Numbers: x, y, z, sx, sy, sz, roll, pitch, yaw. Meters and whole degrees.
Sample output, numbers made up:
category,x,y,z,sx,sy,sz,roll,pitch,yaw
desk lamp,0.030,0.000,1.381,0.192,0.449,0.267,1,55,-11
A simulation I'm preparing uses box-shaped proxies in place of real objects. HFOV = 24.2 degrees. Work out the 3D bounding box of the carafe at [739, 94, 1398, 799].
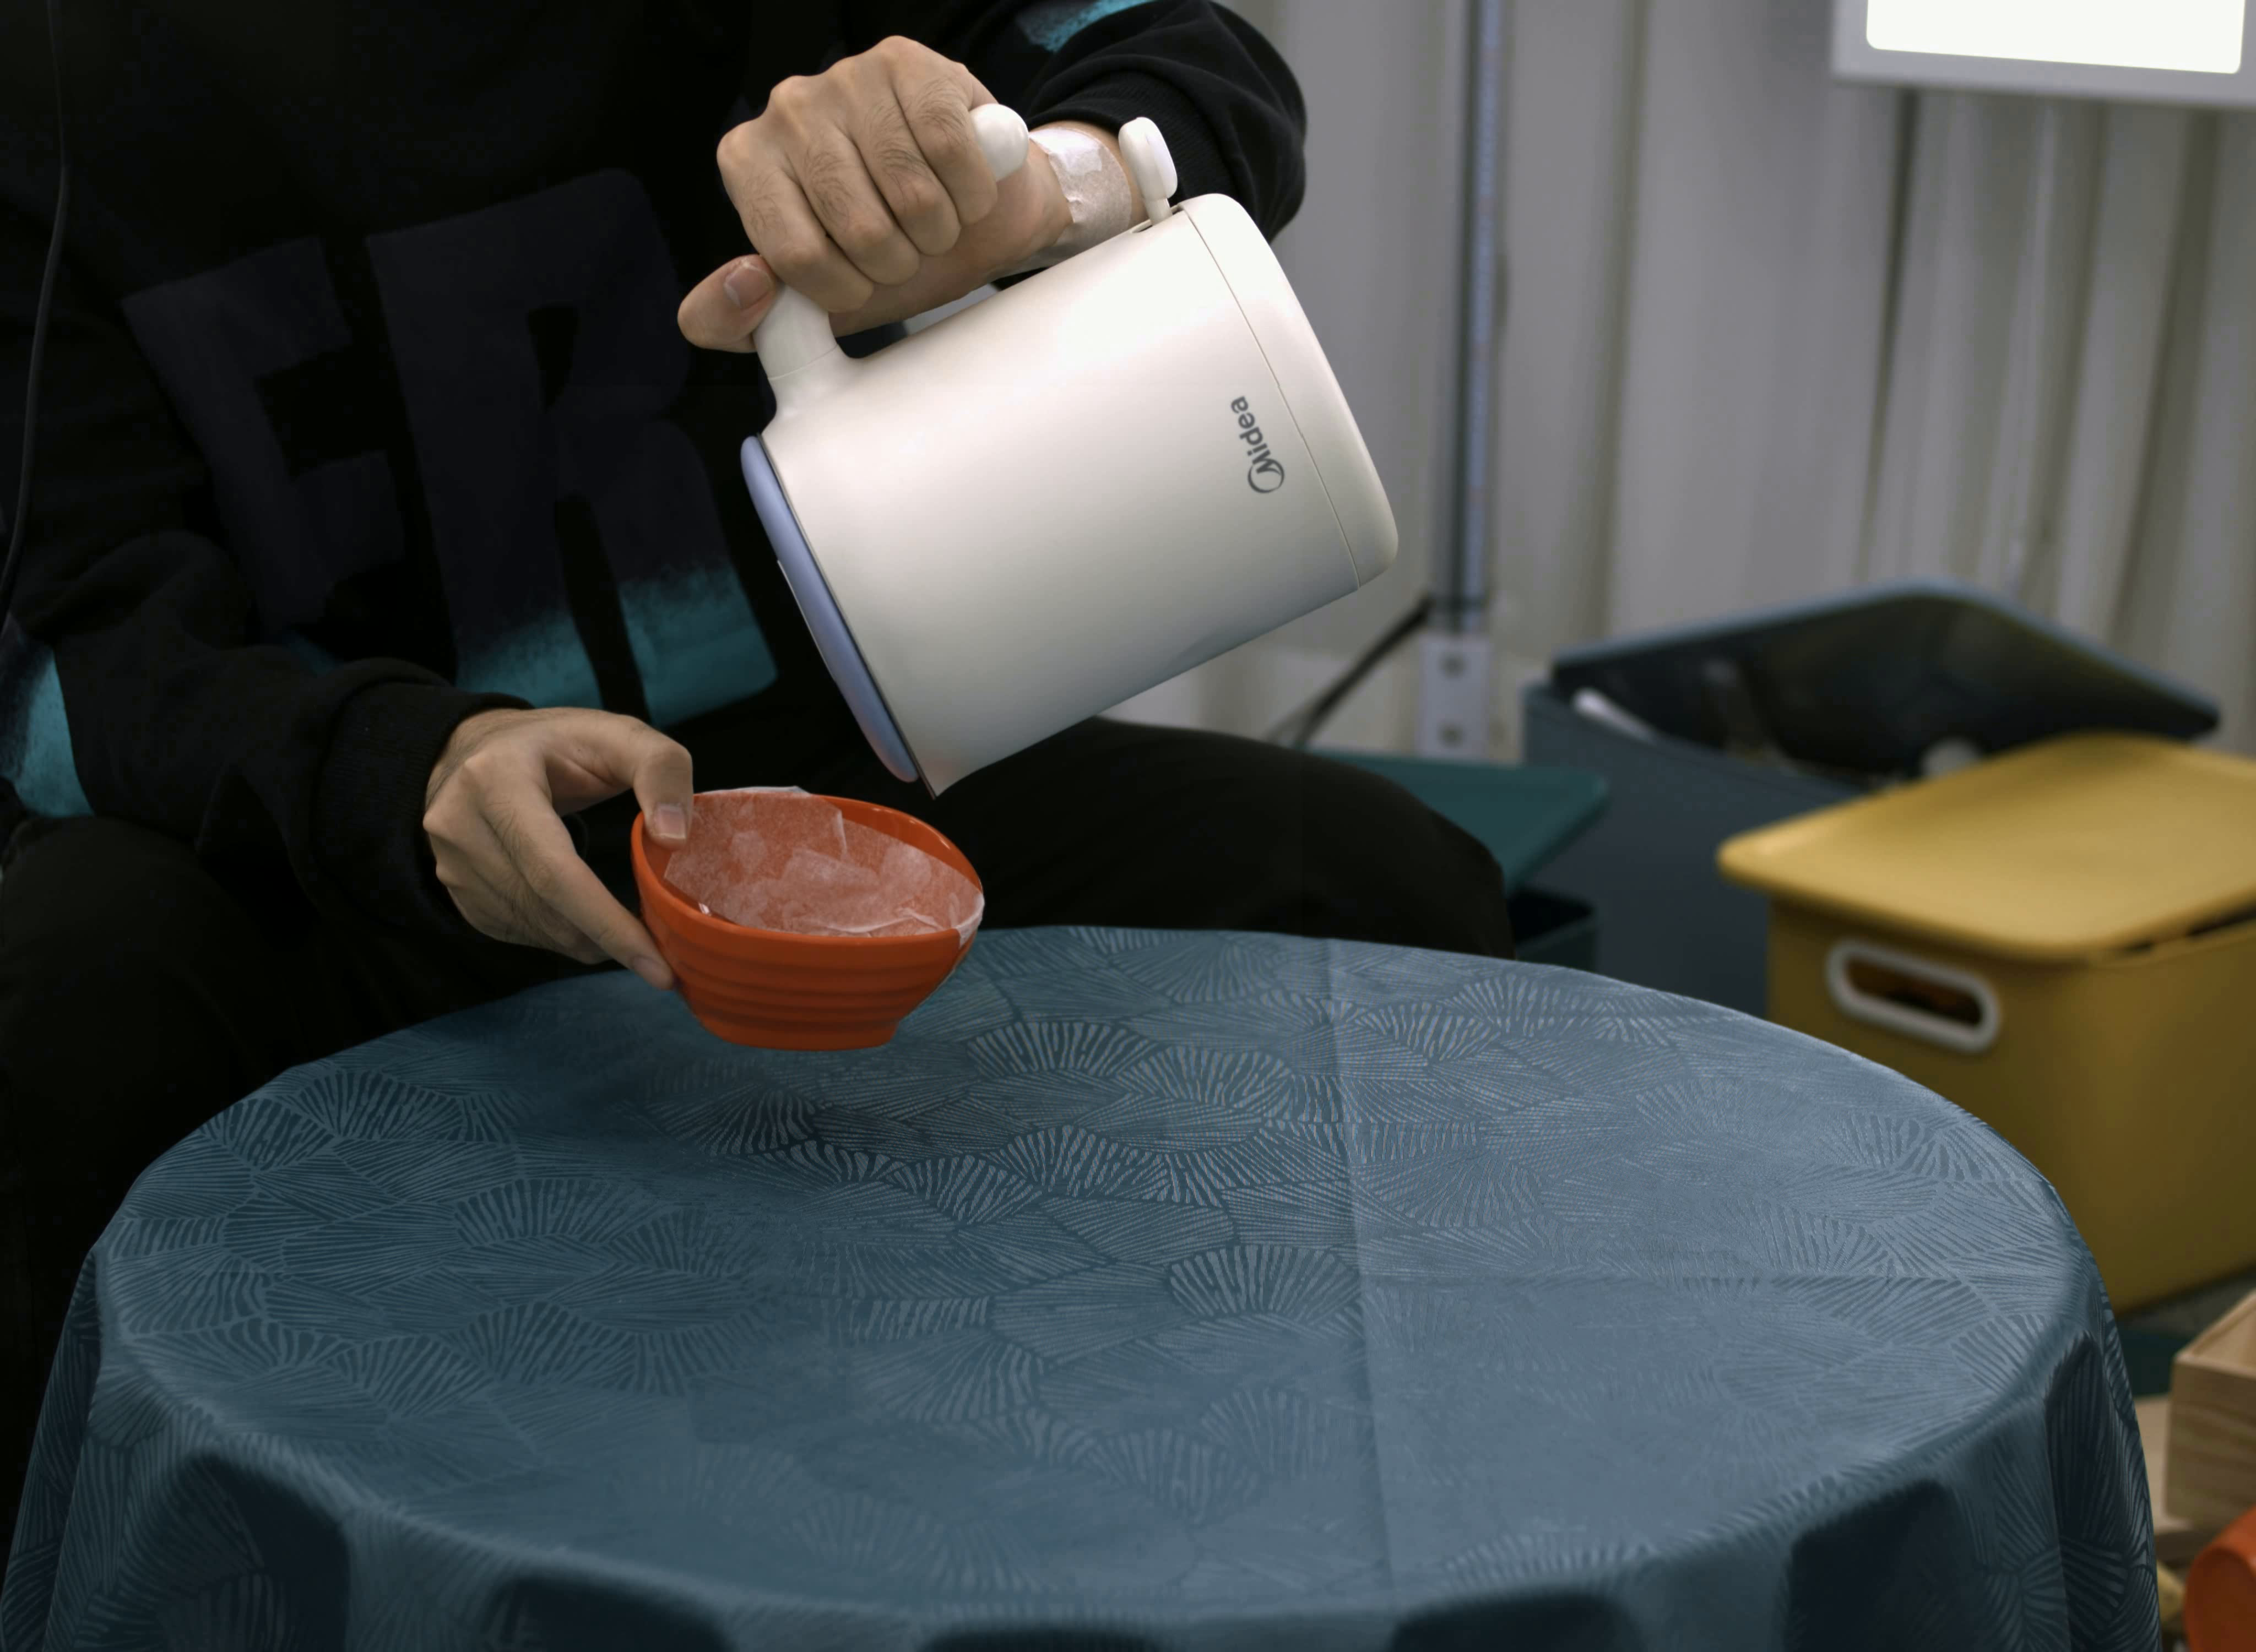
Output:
category,x,y,z,sx,sy,sz,roll,pitch,yaw
carafe,-0.028,-0.126,1.616,0.182,0.192,0.131,-24,12,-3

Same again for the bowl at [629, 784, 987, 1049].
category,x,y,z,sx,sy,sz,roll,pitch,yaw
bowl,-0.104,0.032,1.657,0.119,0.052,0.118,8,25,-3
